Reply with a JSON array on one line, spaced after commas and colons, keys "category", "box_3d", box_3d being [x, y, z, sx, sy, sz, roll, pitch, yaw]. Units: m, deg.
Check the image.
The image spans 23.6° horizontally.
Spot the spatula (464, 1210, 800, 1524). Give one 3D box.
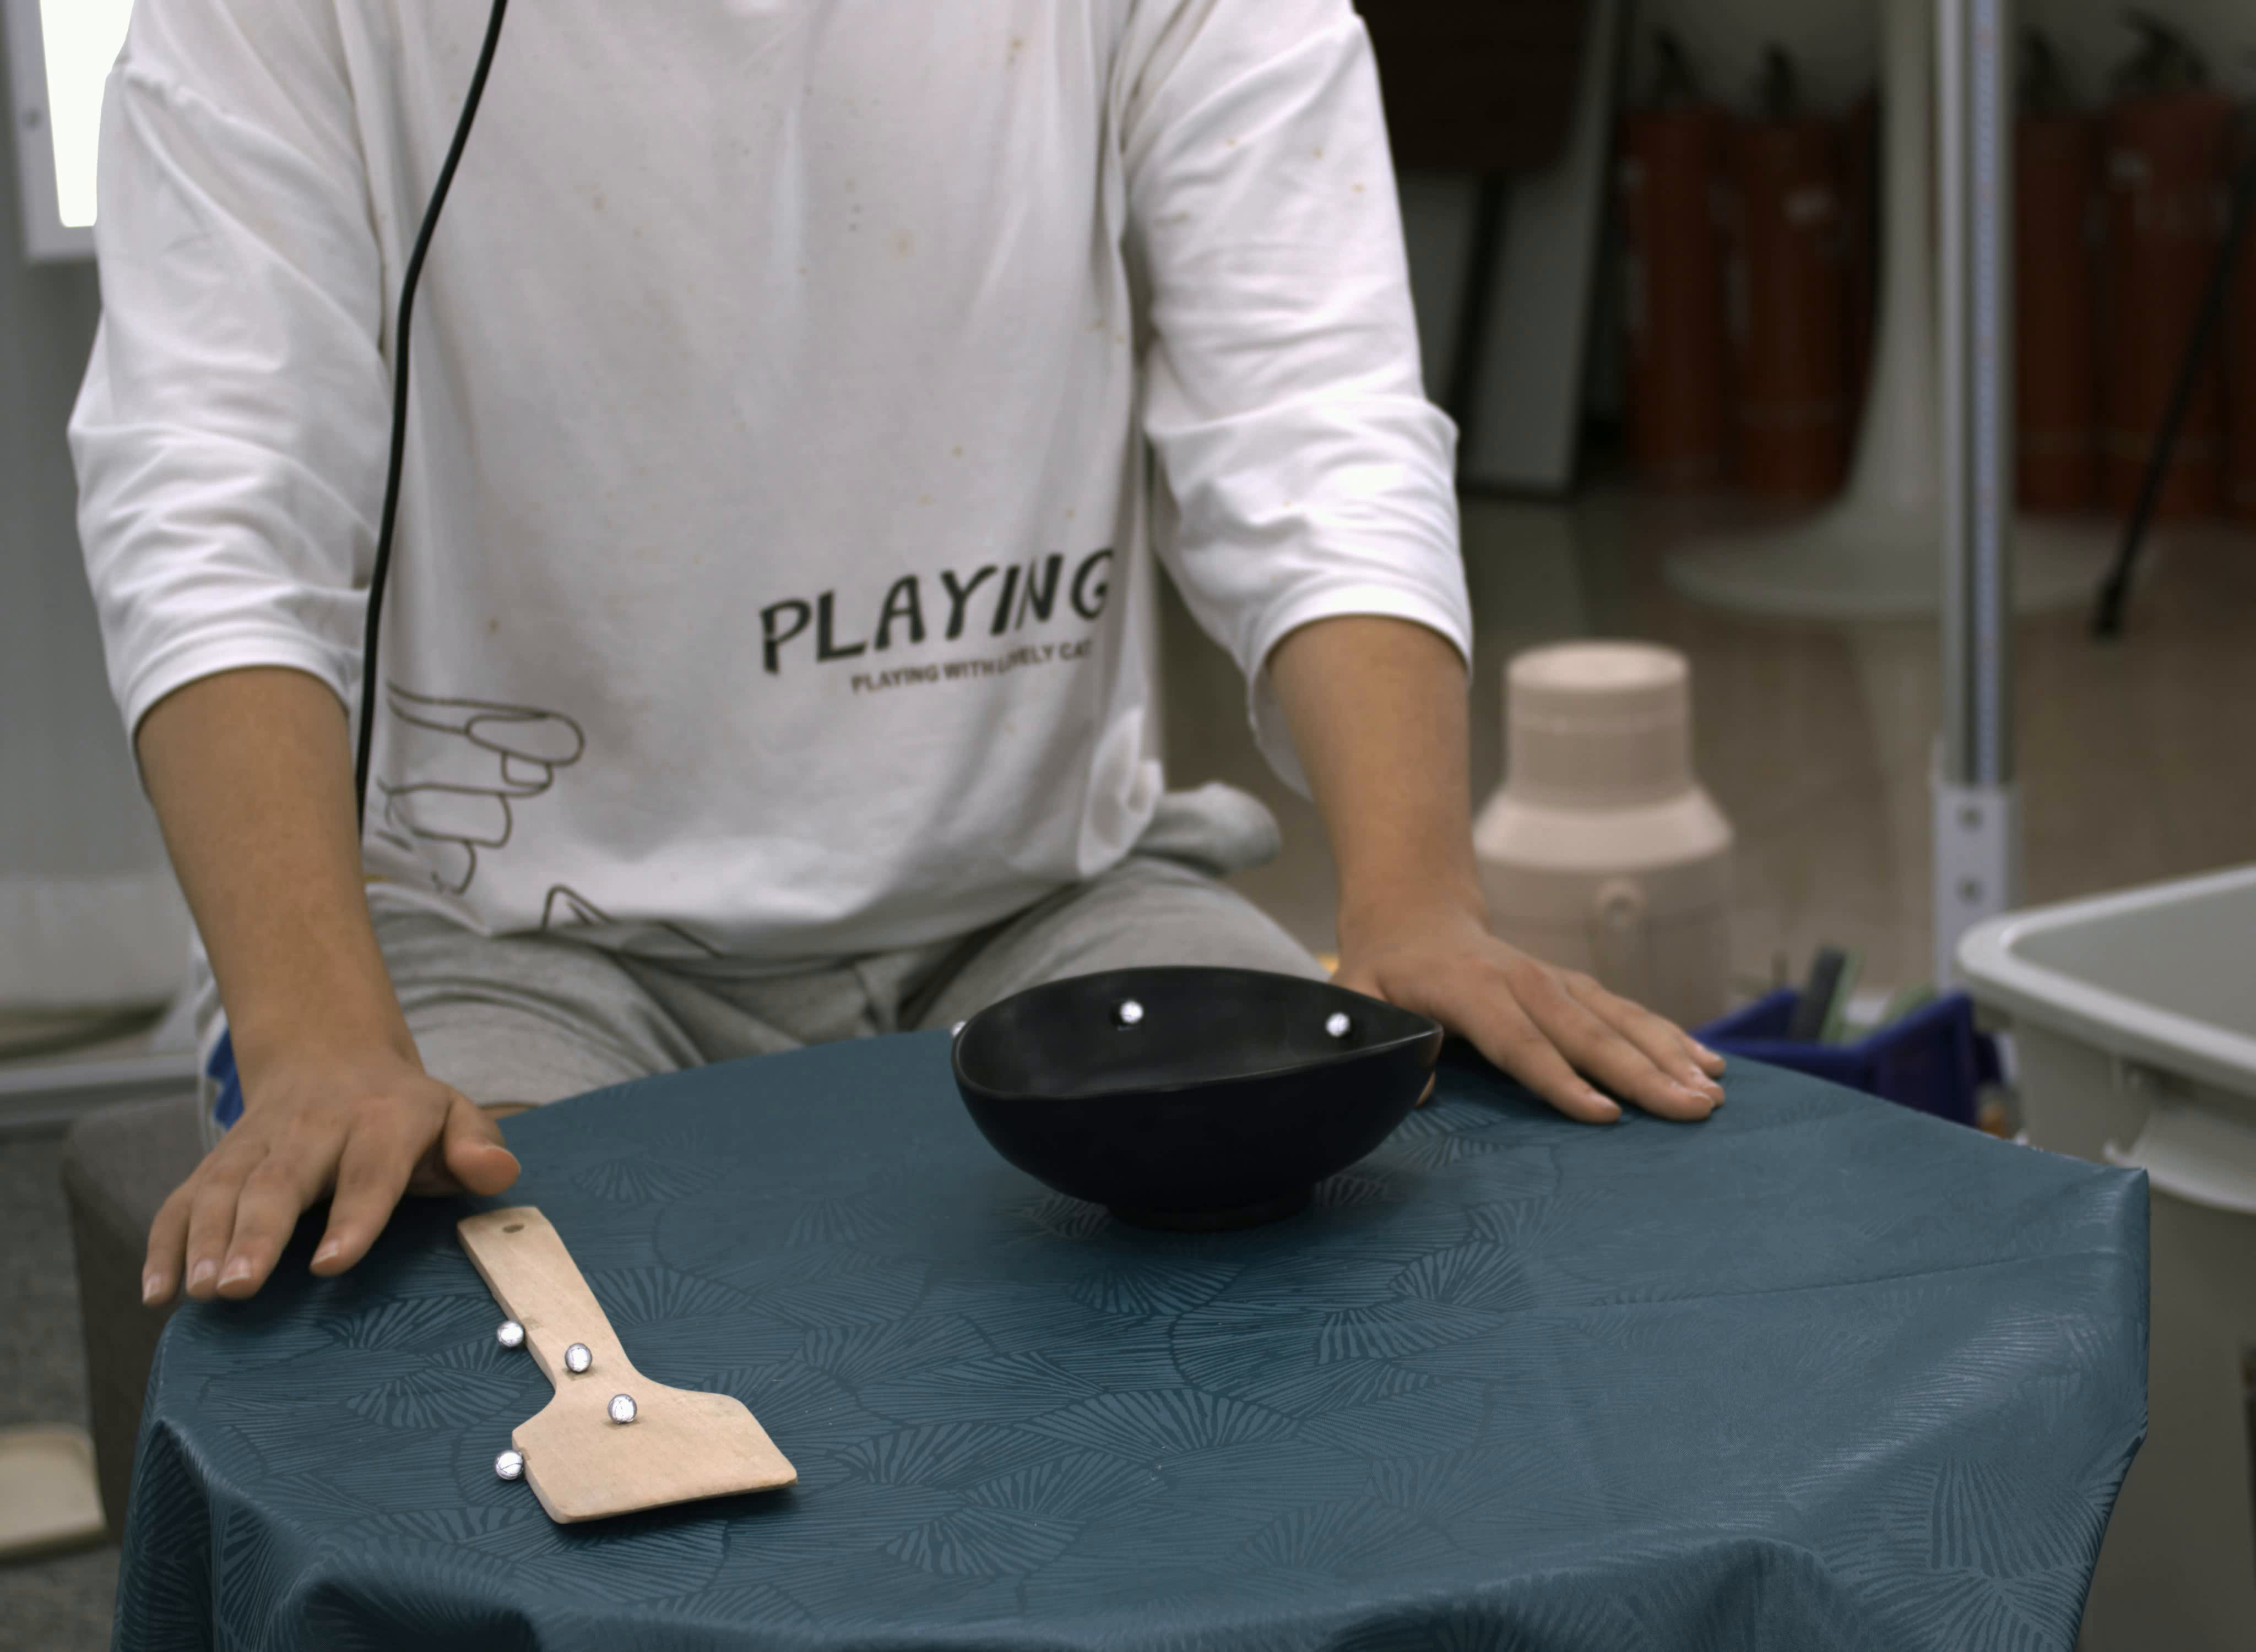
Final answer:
[{"category": "spatula", "box_3d": [-0.165, 0.160, 1.639, 0.071, 0.011, 0.295, -9, 14, -15]}]

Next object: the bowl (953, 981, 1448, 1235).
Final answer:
[{"category": "bowl", "box_3d": [0.024, 0.093, 1.751, 0.166, 0.067, 0.139, -9, 13, -29]}]
